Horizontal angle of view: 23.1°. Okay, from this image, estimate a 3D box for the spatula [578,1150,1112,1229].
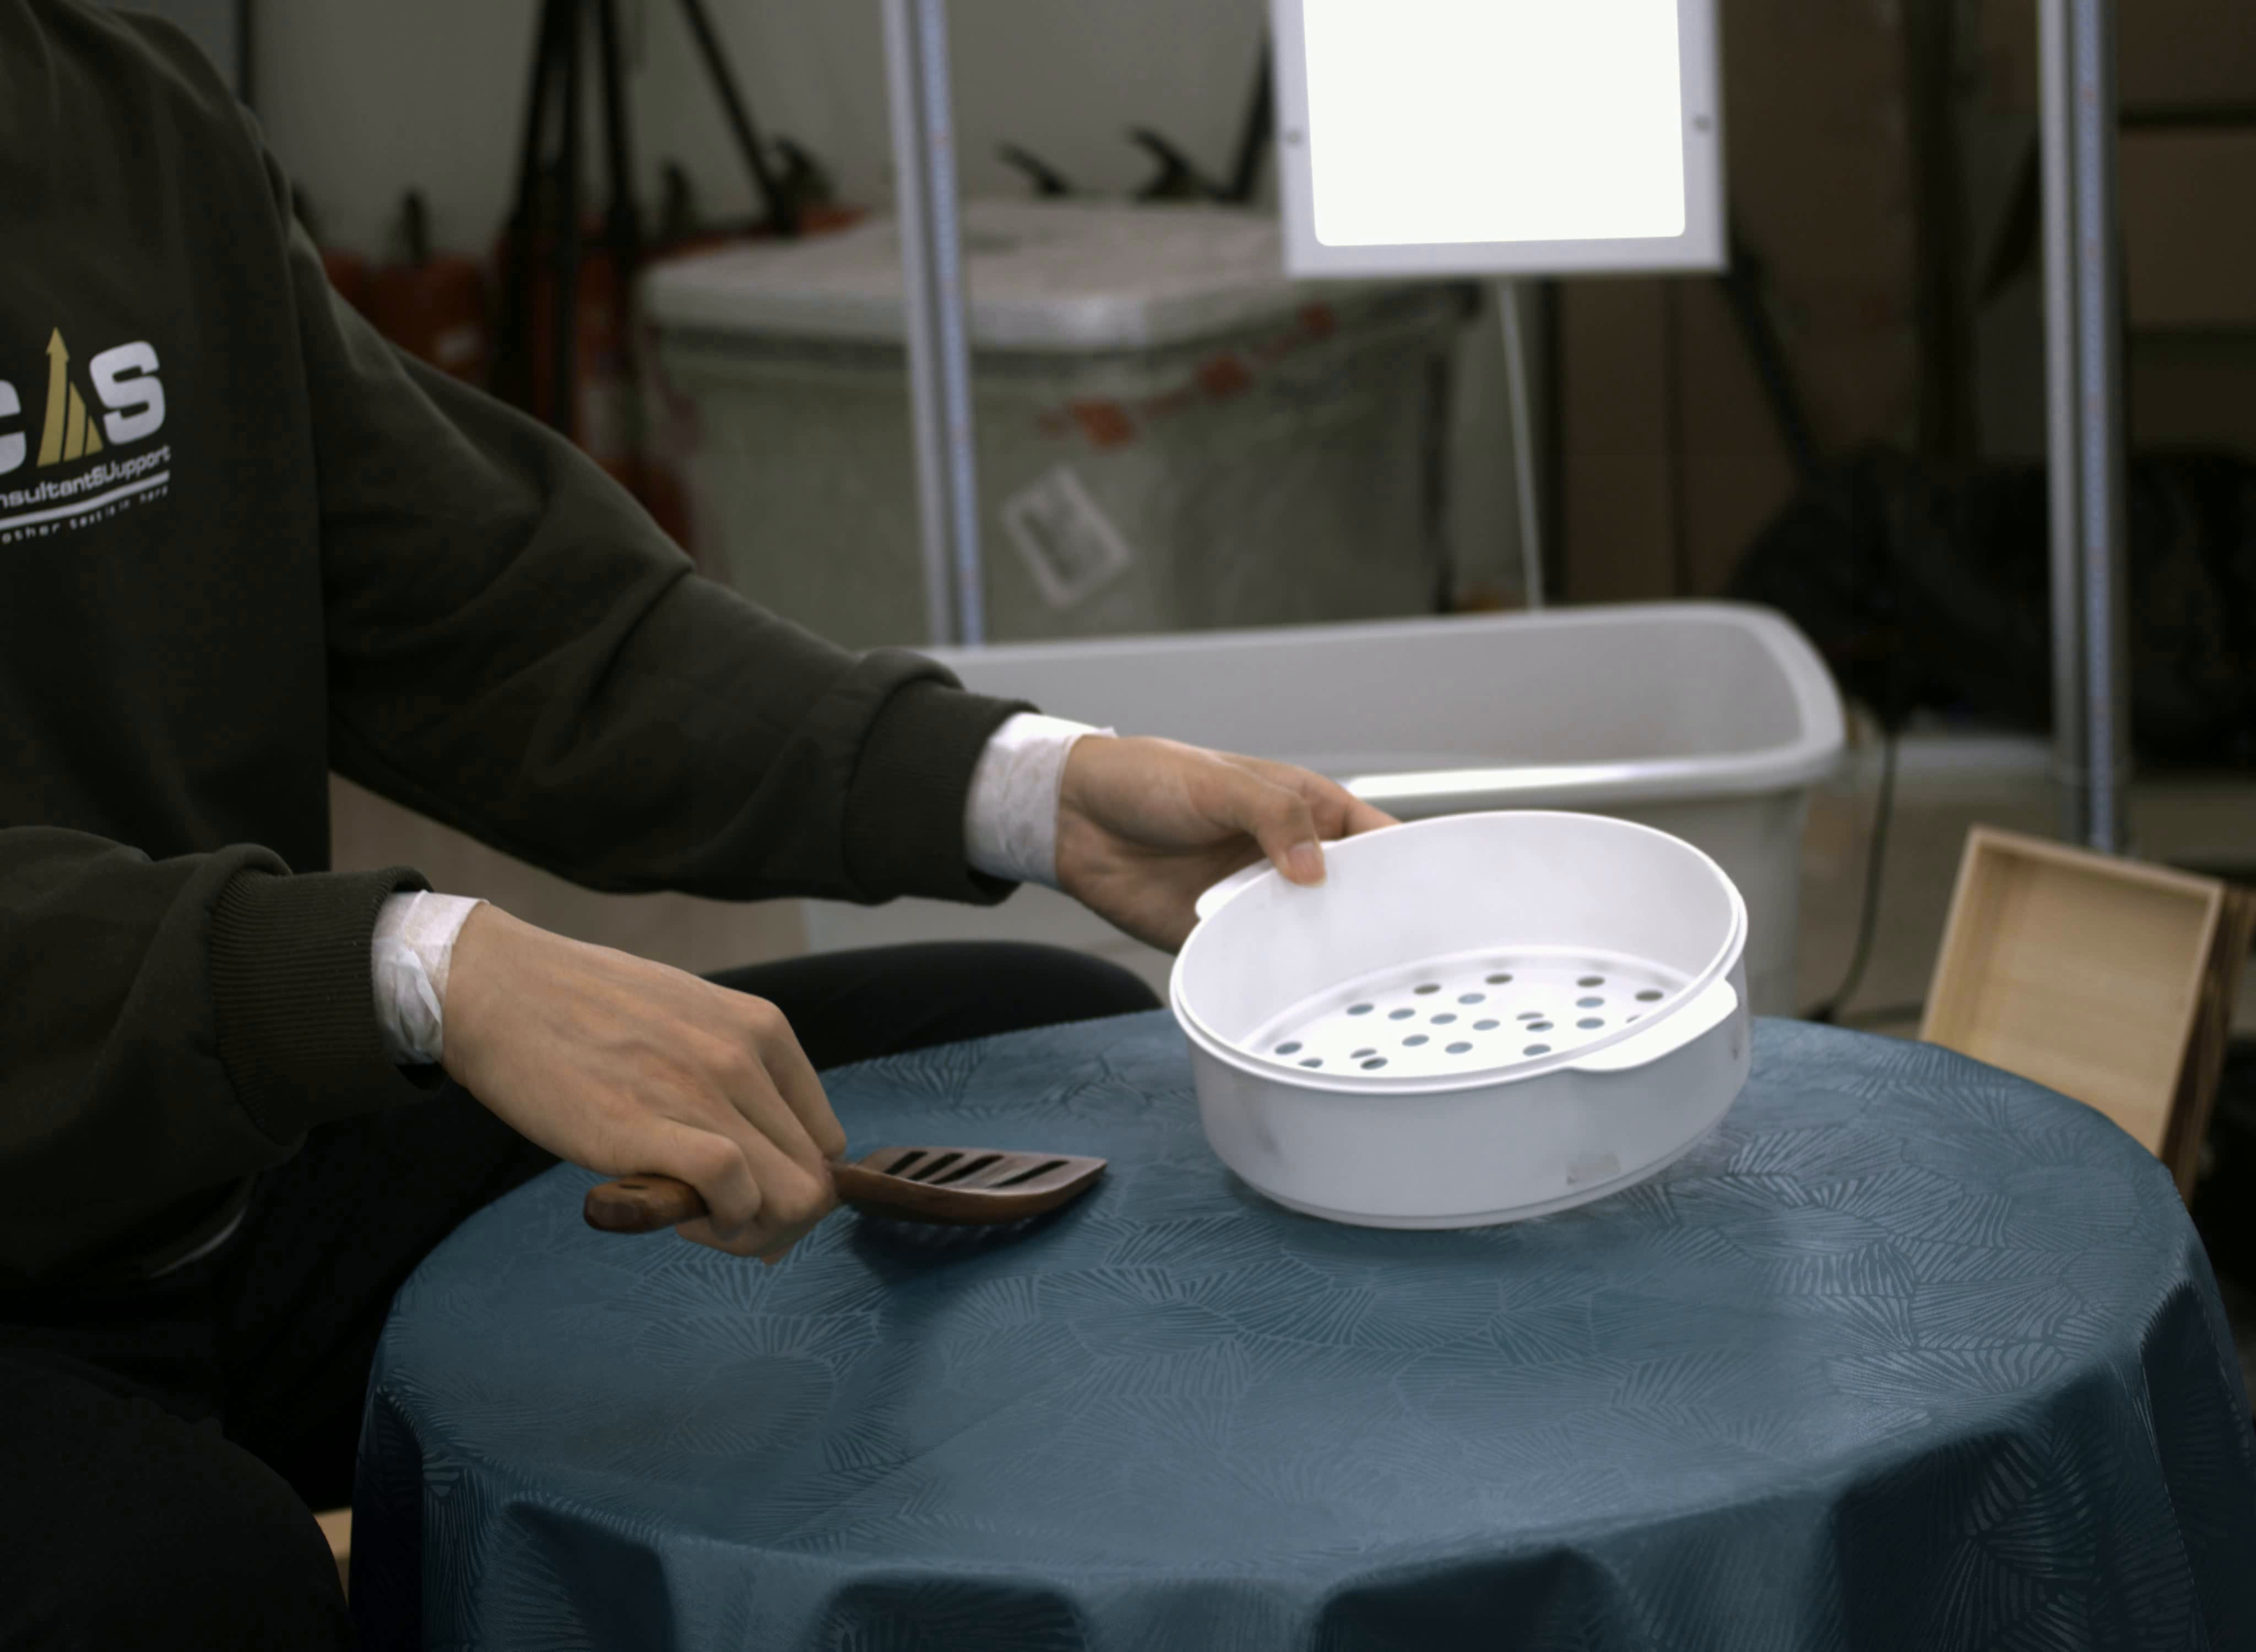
[{"bbox_3d":[-0.095,0.118,1.762,0.087,0.024,0.380,4,-2,17],"label":"spatula"}]

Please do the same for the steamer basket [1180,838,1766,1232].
[{"bbox_3d":[0.122,0.072,1.895,0.197,0.069,0.235,-24,24,-31],"label":"steamer basket"}]
